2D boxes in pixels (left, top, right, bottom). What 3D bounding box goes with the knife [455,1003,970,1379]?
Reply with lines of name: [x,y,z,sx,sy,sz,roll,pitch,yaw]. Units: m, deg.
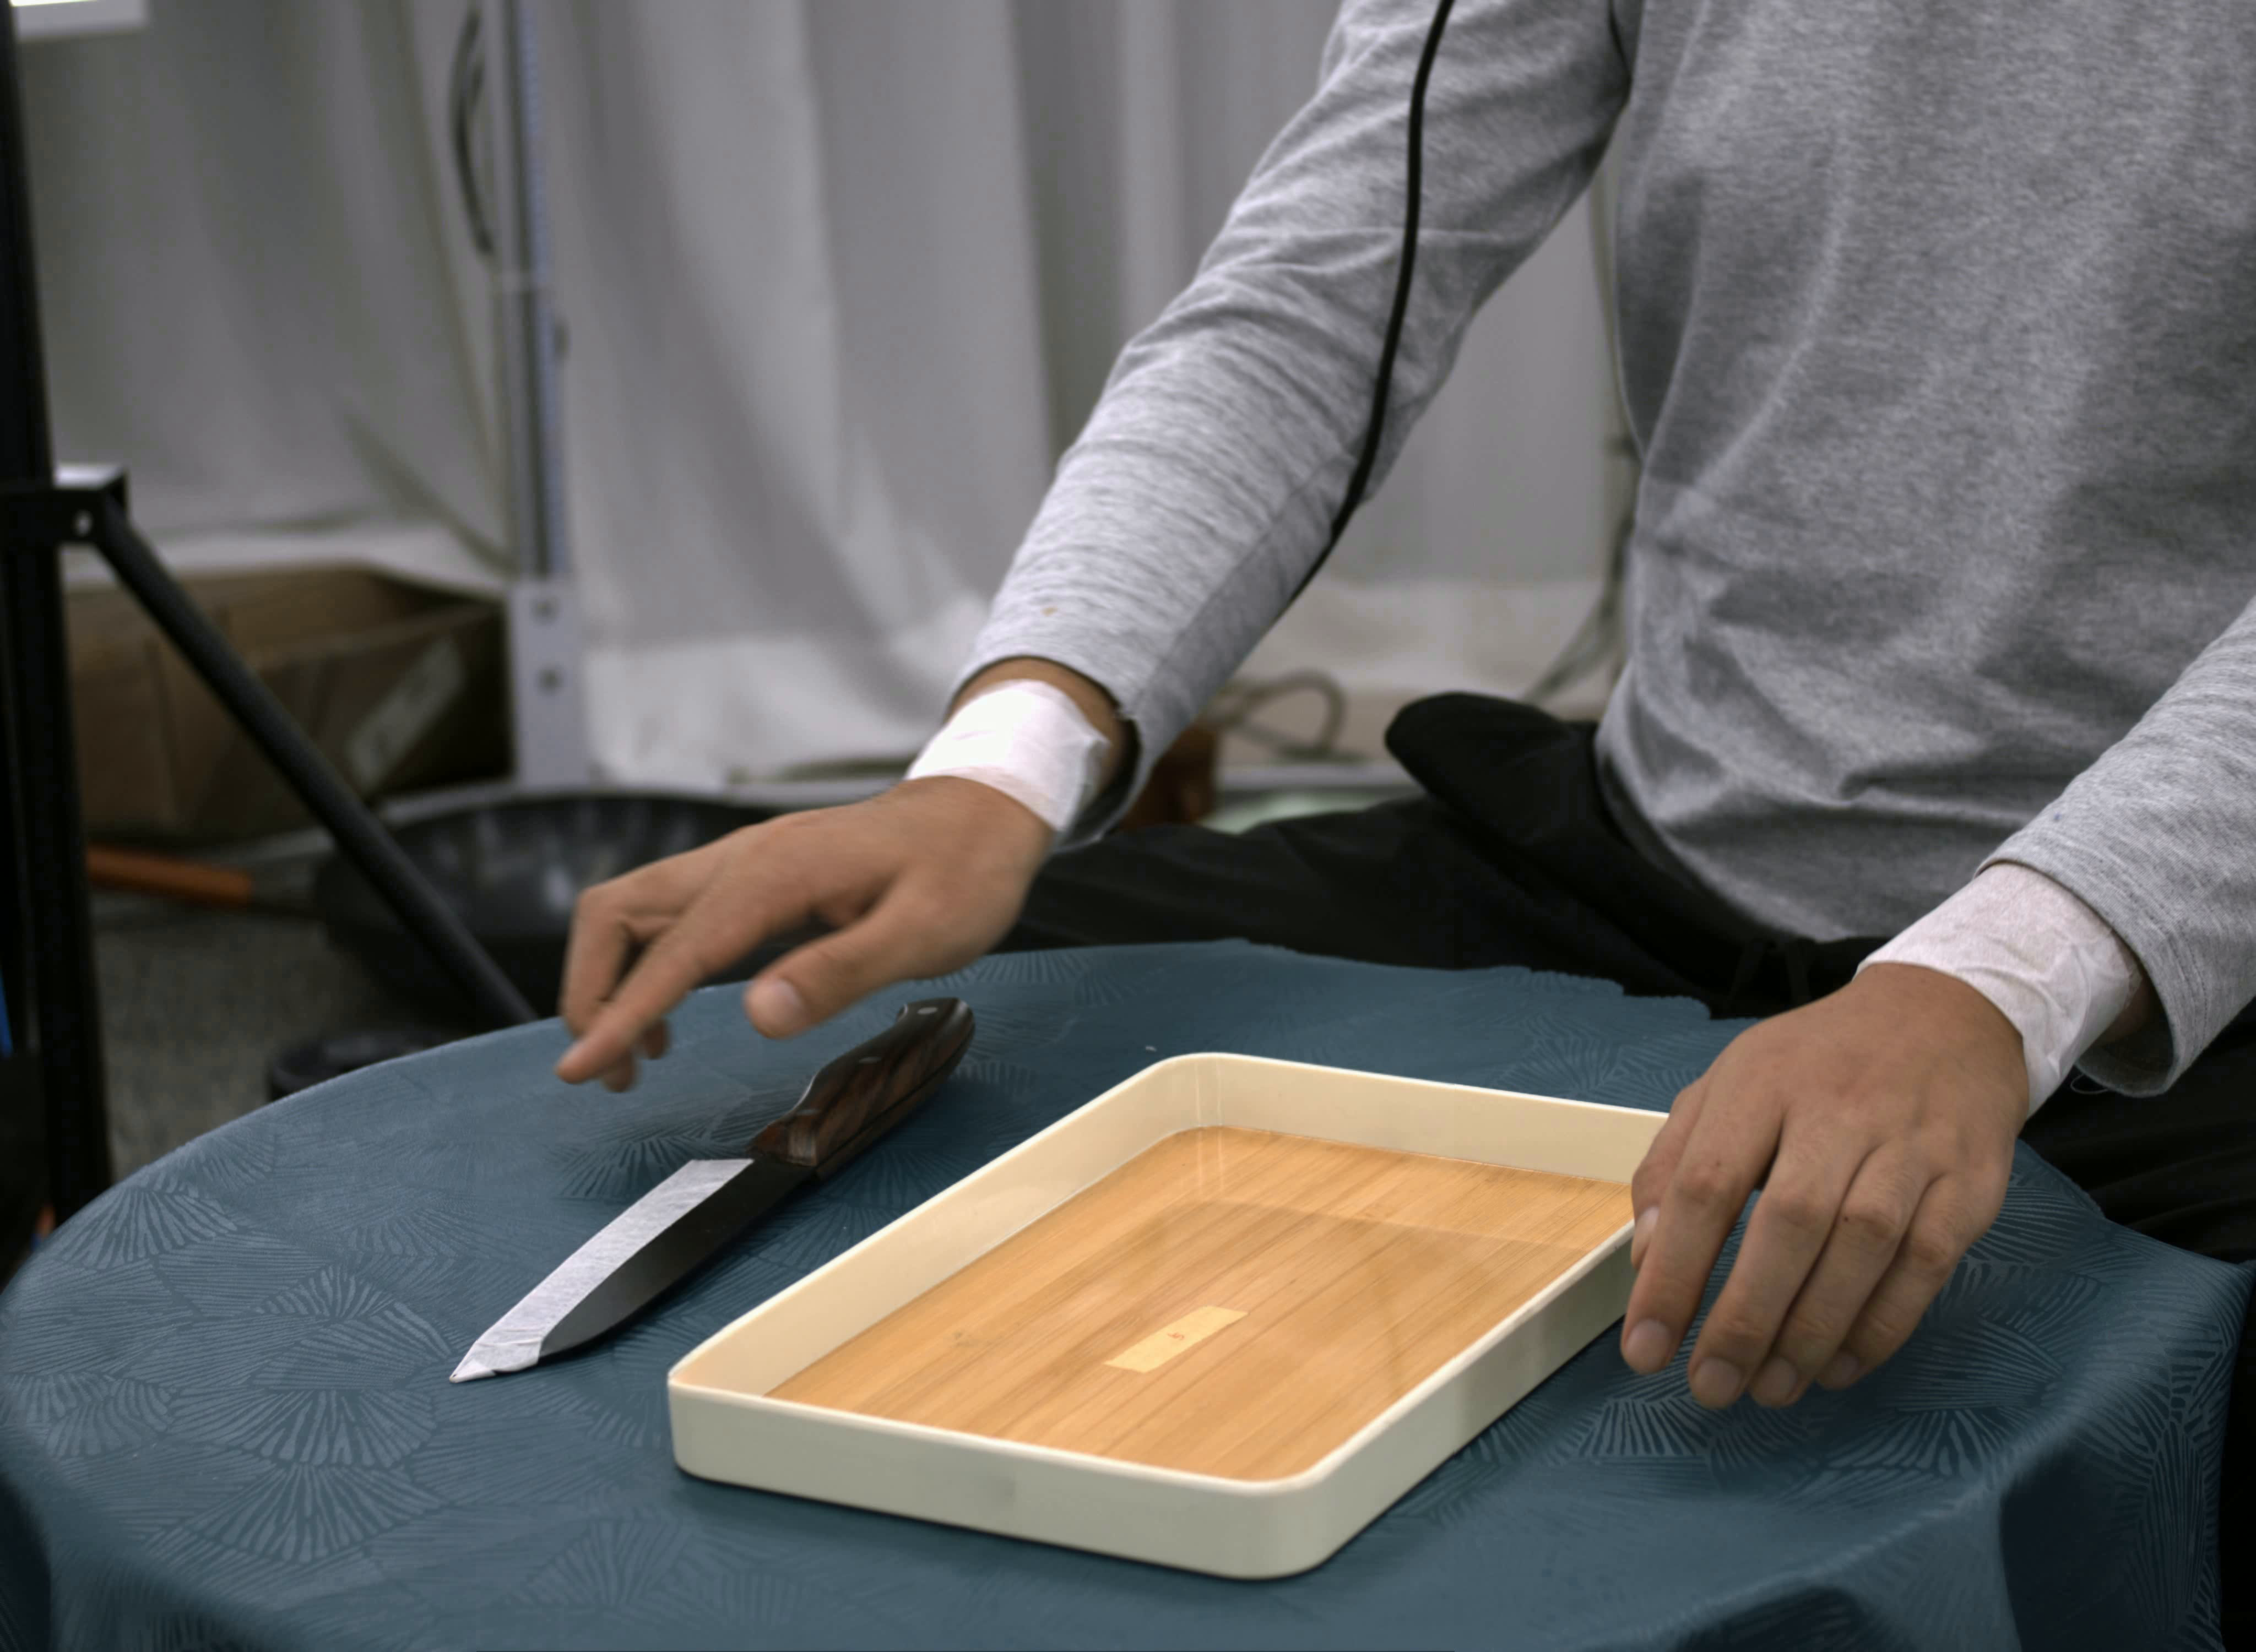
knife: [-0.117,0.107,1.559,0.051,0.020,0.285,0,18,27]

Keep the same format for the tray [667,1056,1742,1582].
tray: [0.029,0.127,1.442,0.195,0.027,0.295,7,18,29]
